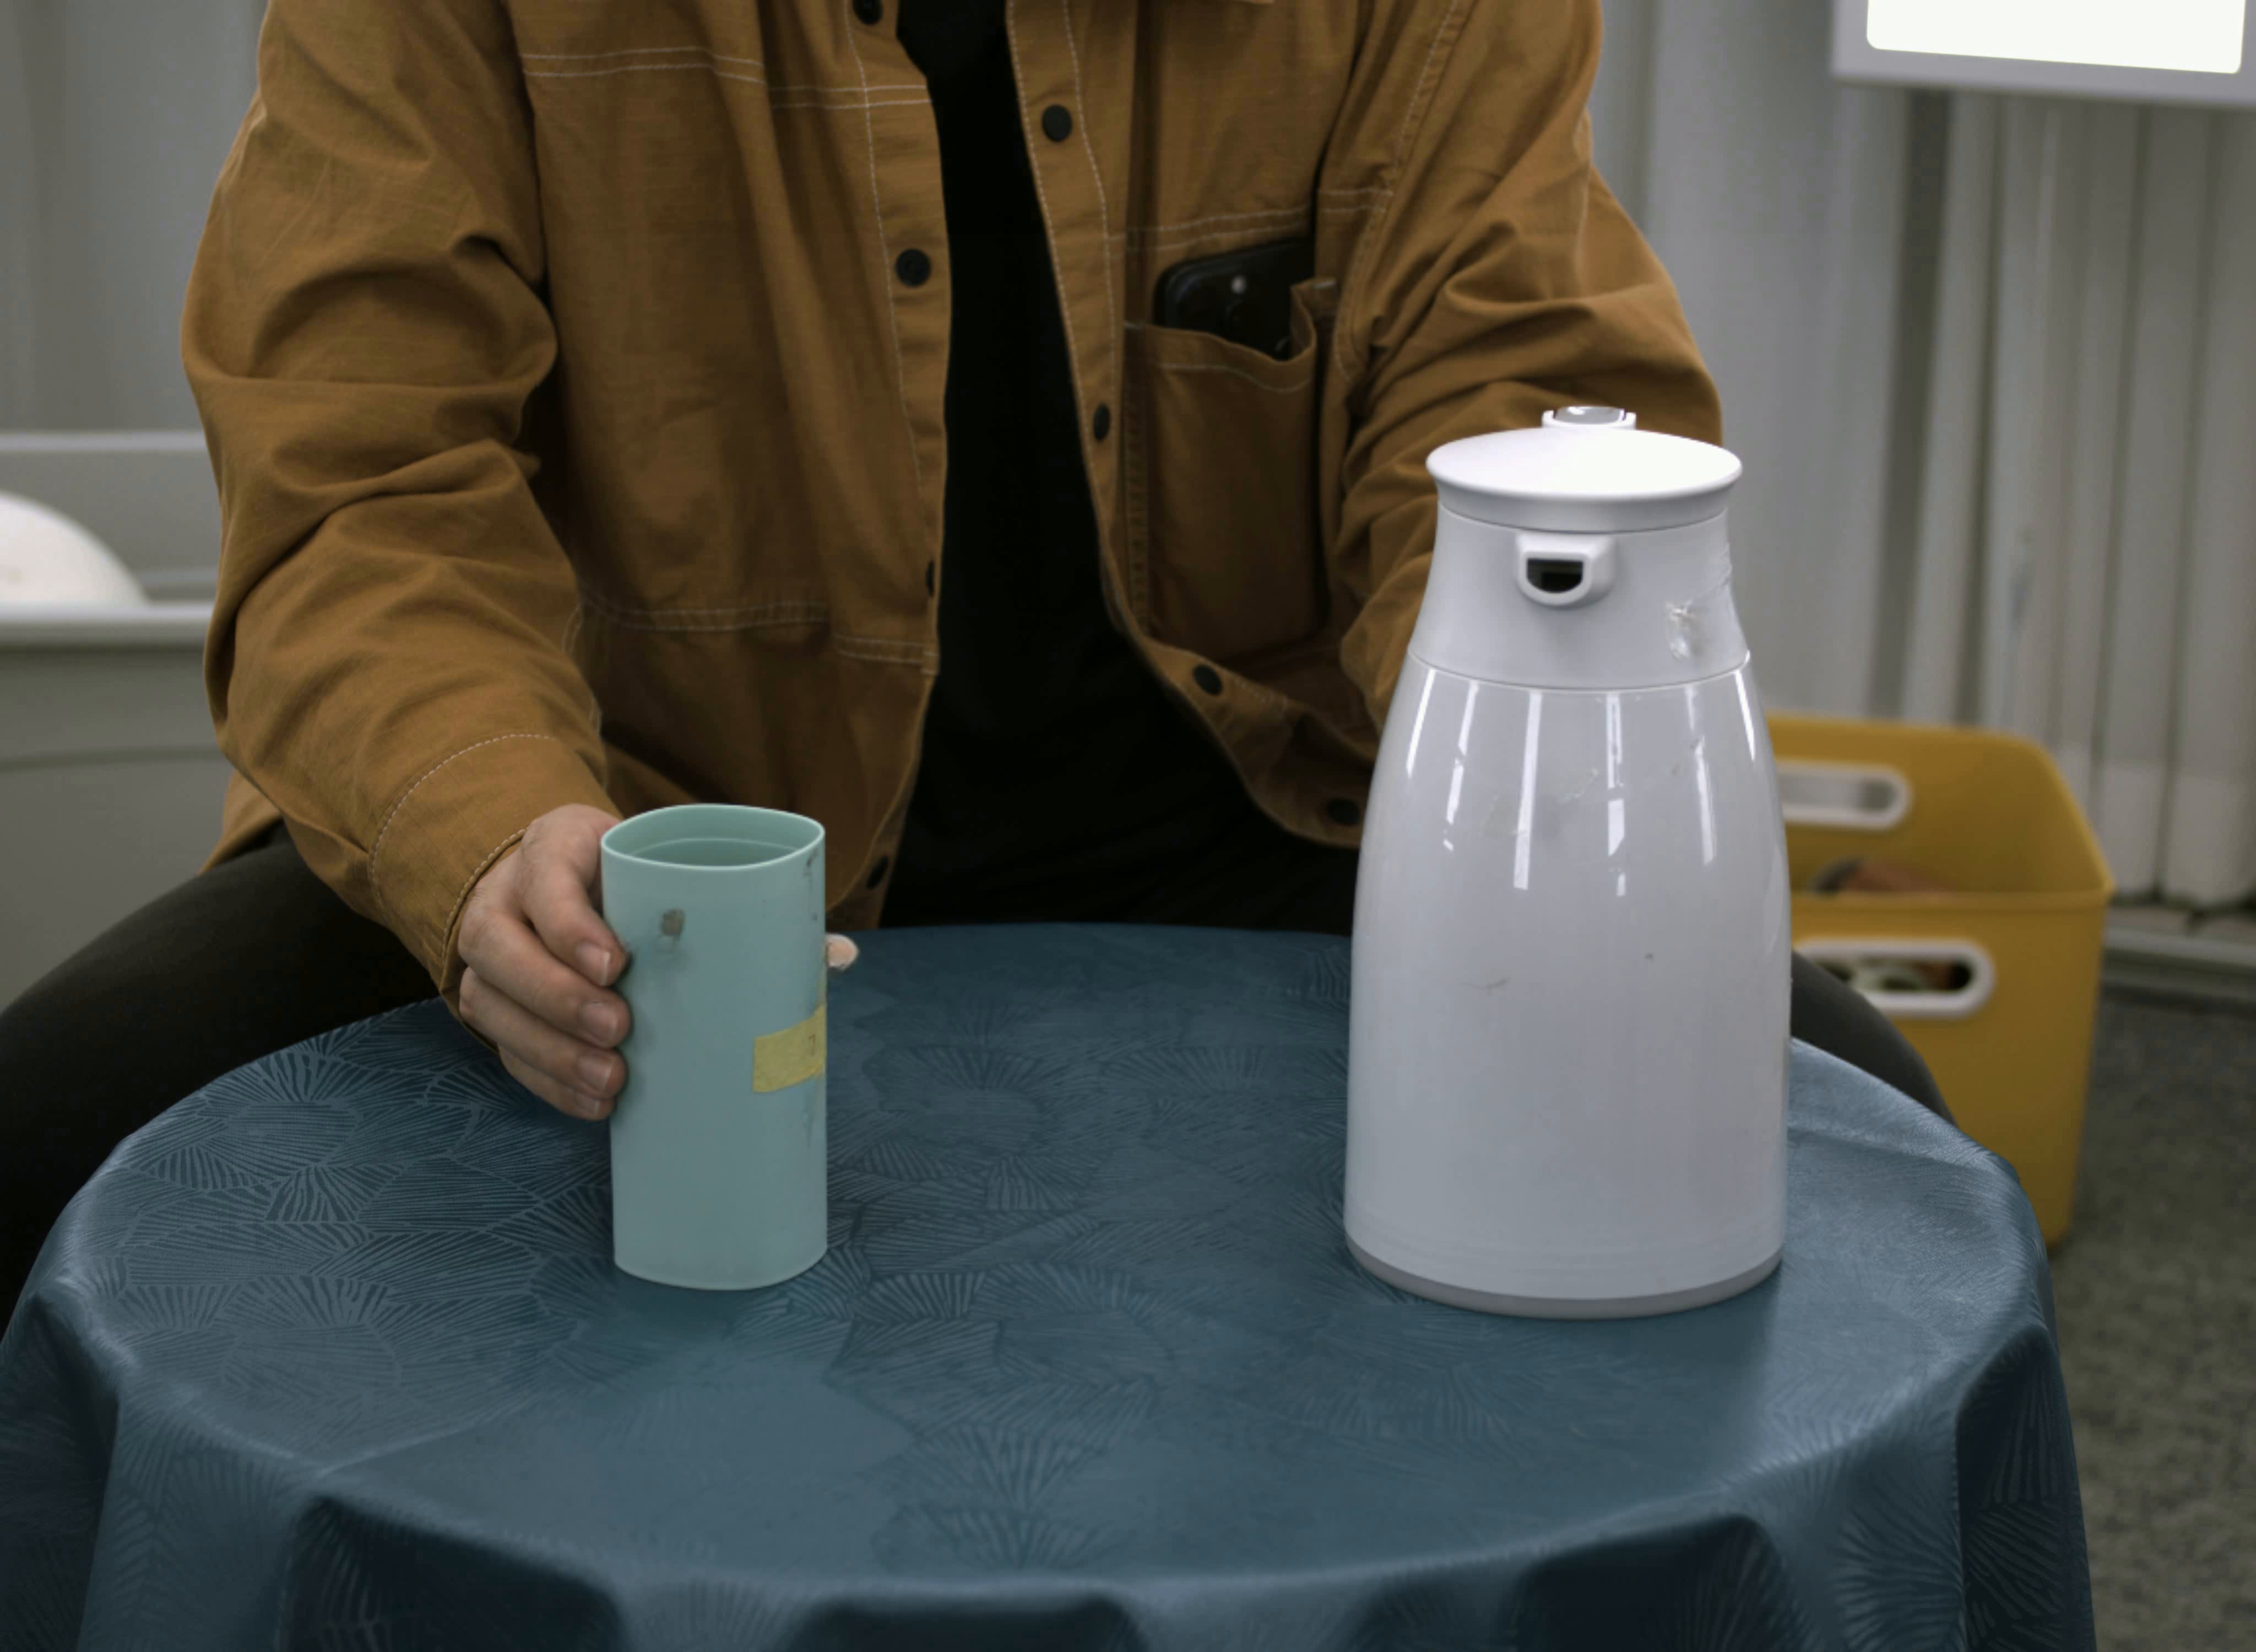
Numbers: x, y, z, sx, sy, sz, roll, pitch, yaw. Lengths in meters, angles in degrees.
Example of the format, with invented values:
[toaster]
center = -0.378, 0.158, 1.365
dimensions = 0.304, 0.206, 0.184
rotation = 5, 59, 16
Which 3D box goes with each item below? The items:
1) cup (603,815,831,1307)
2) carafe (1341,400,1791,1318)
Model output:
[cup]
center = -0.121, 0.068, 1.546
dimensions = 0.066, 0.133, 0.066
rotation = 1, 17, 0
[carafe]
center = 0.133, 0.001, 1.564
dimensions = 0.131, 0.250, 0.167
rotation = 3, 16, 10
